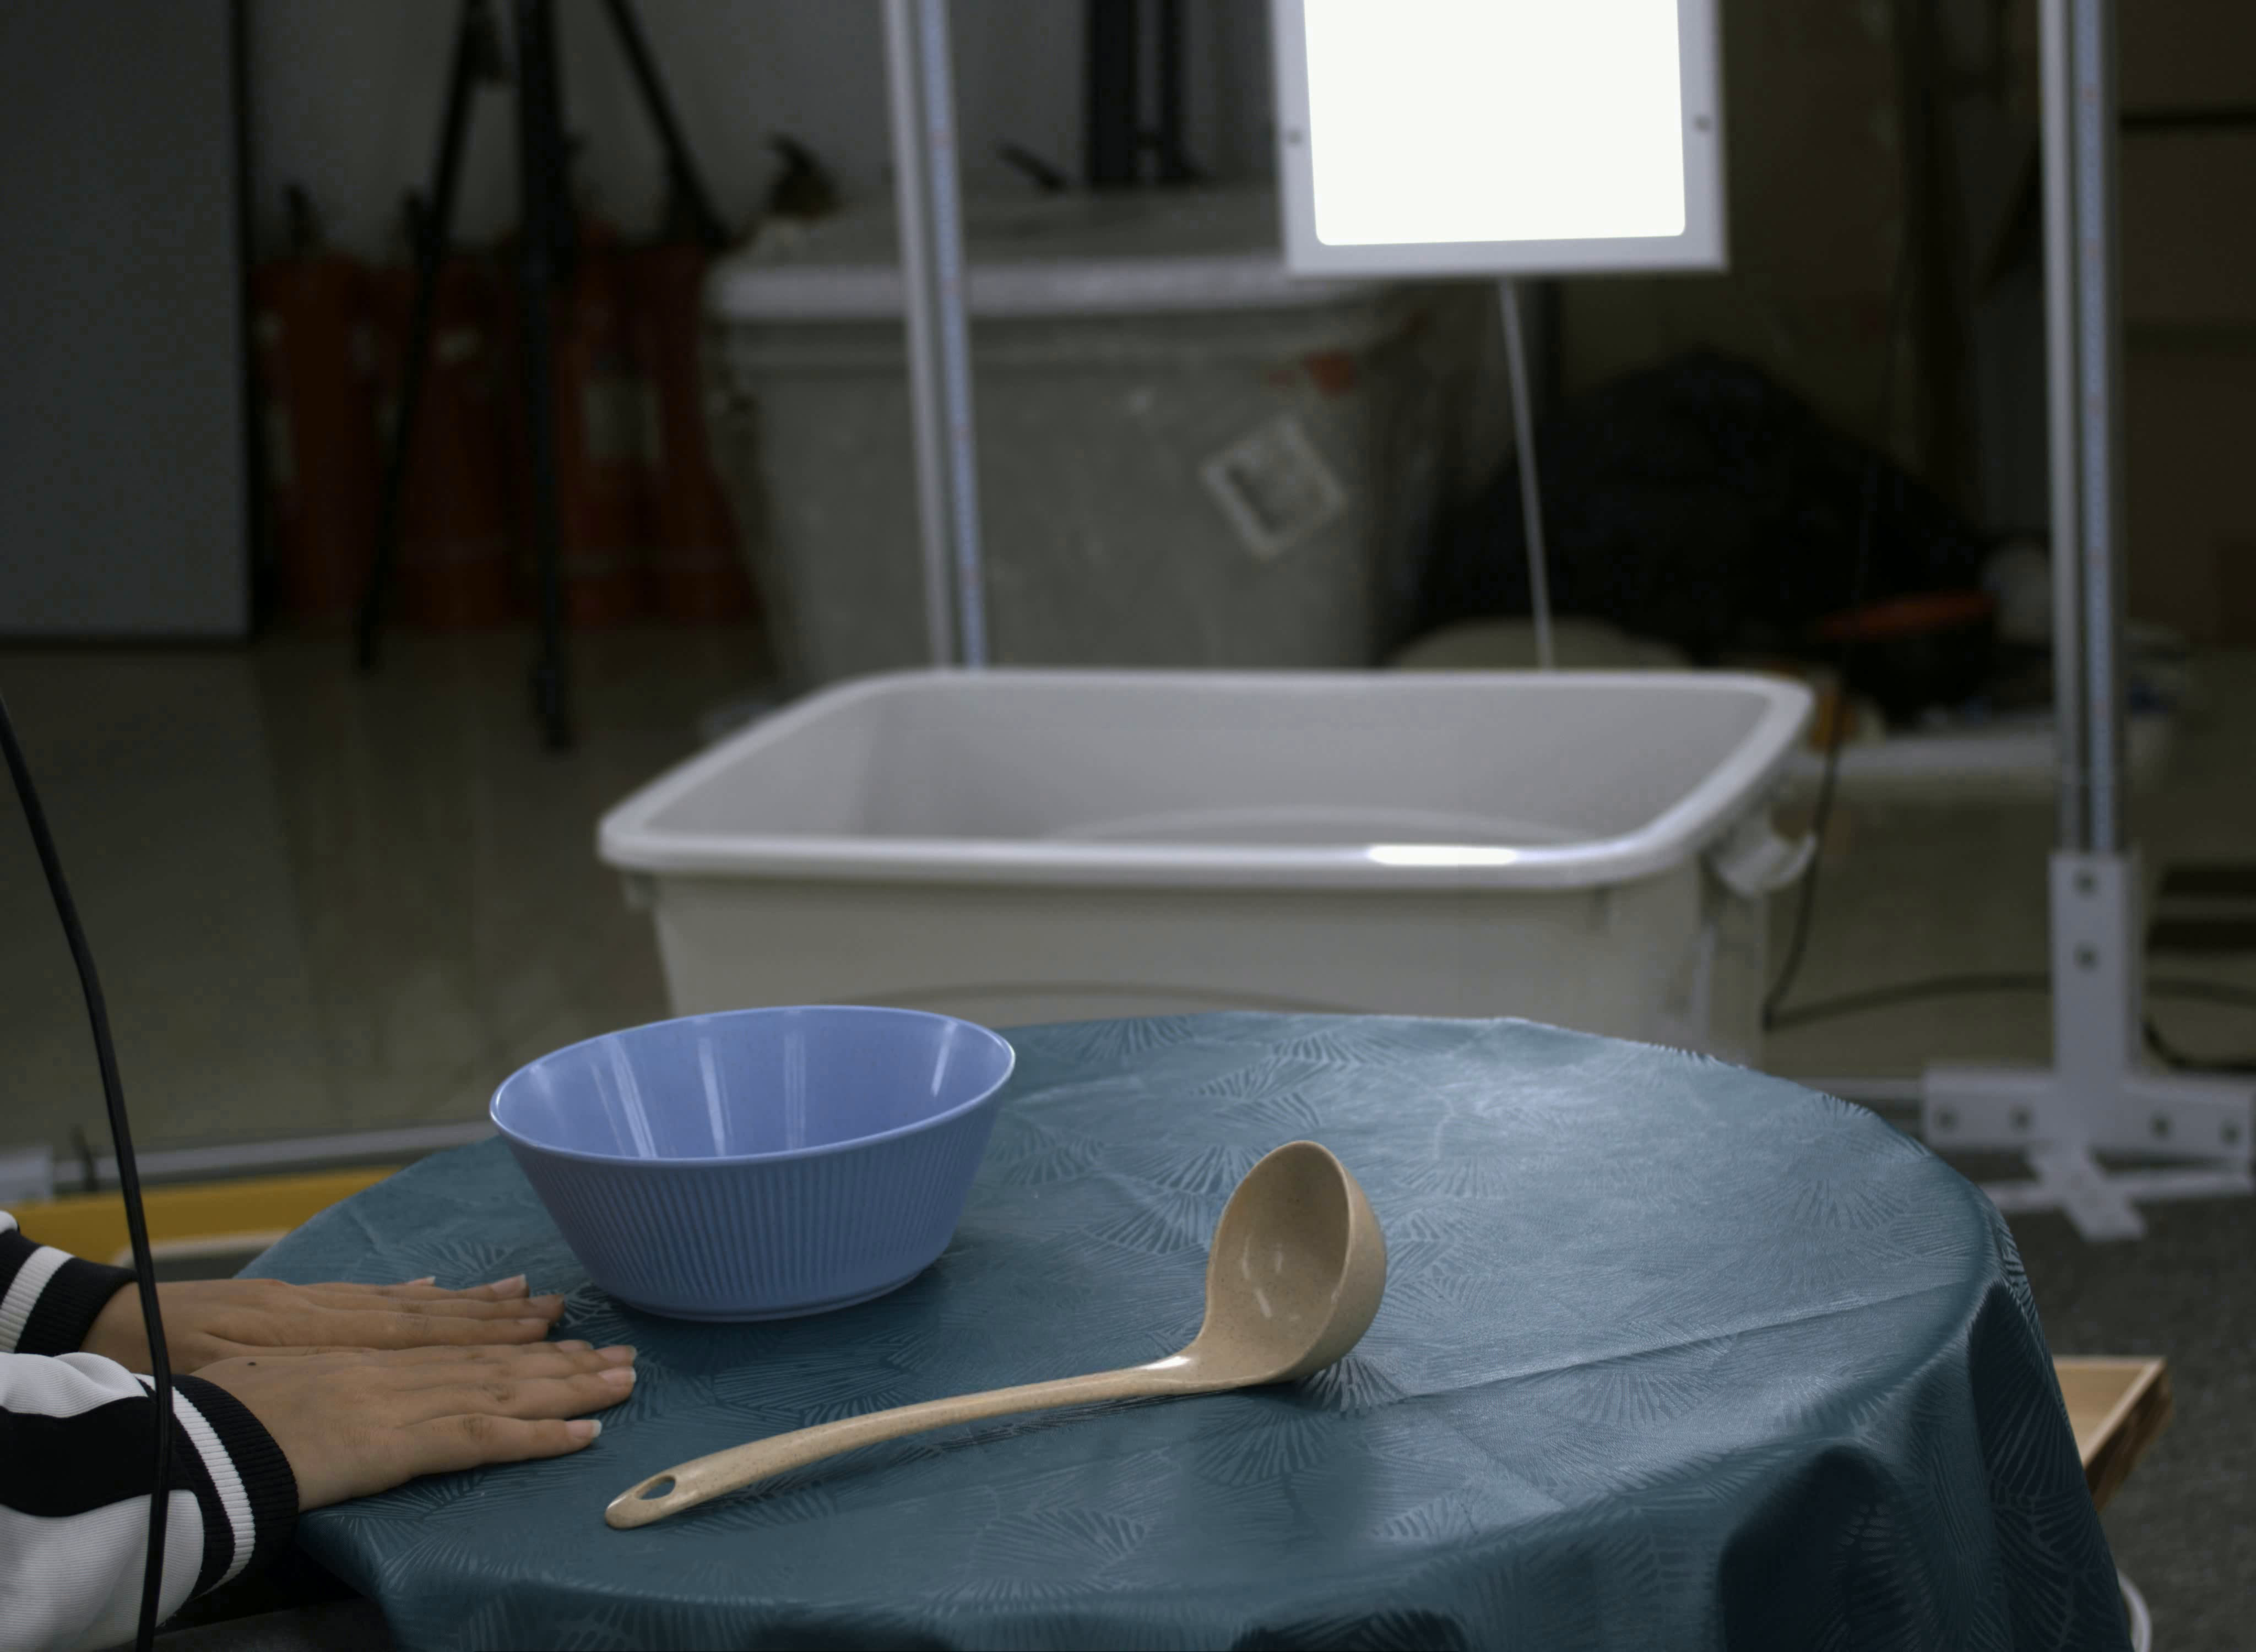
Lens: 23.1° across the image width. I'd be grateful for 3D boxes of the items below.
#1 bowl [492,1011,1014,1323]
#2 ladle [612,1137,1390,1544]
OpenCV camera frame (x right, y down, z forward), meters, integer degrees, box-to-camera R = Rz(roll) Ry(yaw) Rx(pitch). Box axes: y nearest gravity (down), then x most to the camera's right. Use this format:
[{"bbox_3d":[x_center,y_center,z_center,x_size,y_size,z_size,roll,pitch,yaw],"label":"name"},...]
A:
[{"bbox_3d":[-0.122,0.116,1.839,0.175,0.070,0.176,-5,13,0],"label":"bowl"},{"bbox_3d":[-0.039,0.152,1.656,0.249,0.073,0.073,-12,28,-24],"label":"ladle"}]
